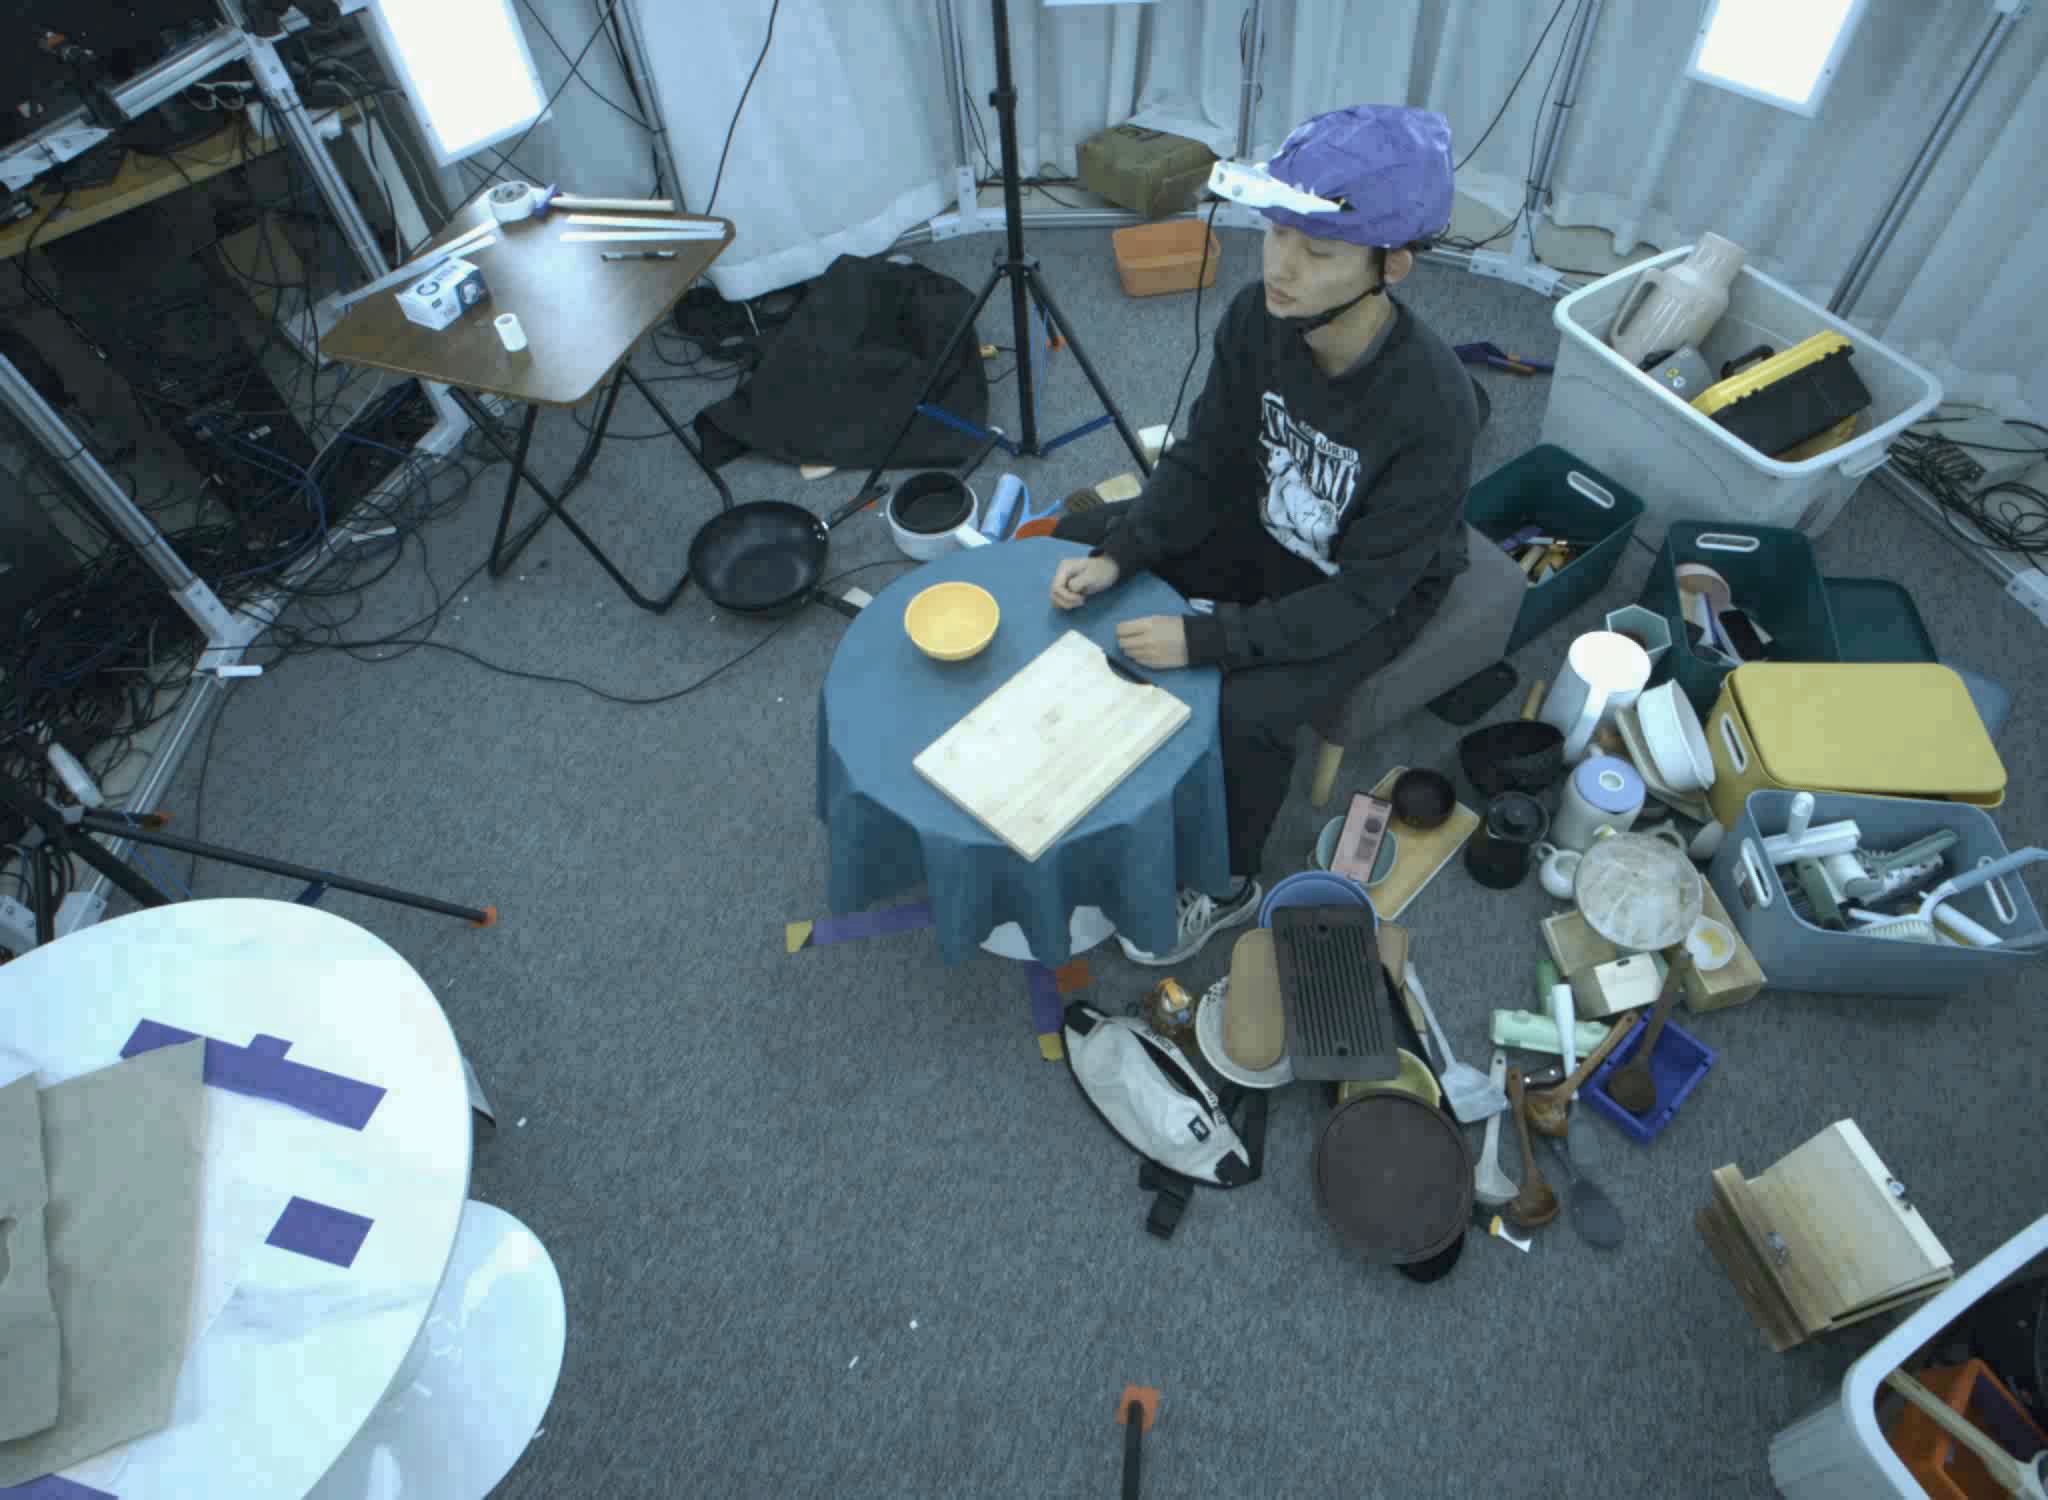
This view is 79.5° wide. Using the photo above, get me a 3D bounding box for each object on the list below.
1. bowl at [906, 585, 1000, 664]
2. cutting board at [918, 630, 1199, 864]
[{"bbox_3d":[-0.108,-0.183,1.895,0.145,0.060,0.144,1,56,0],"label":"bowl"},{"bbox_3d":[0.050,-0.015,1.797,0.246,0.024,0.351,36,63,24],"label":"cutting board"}]
